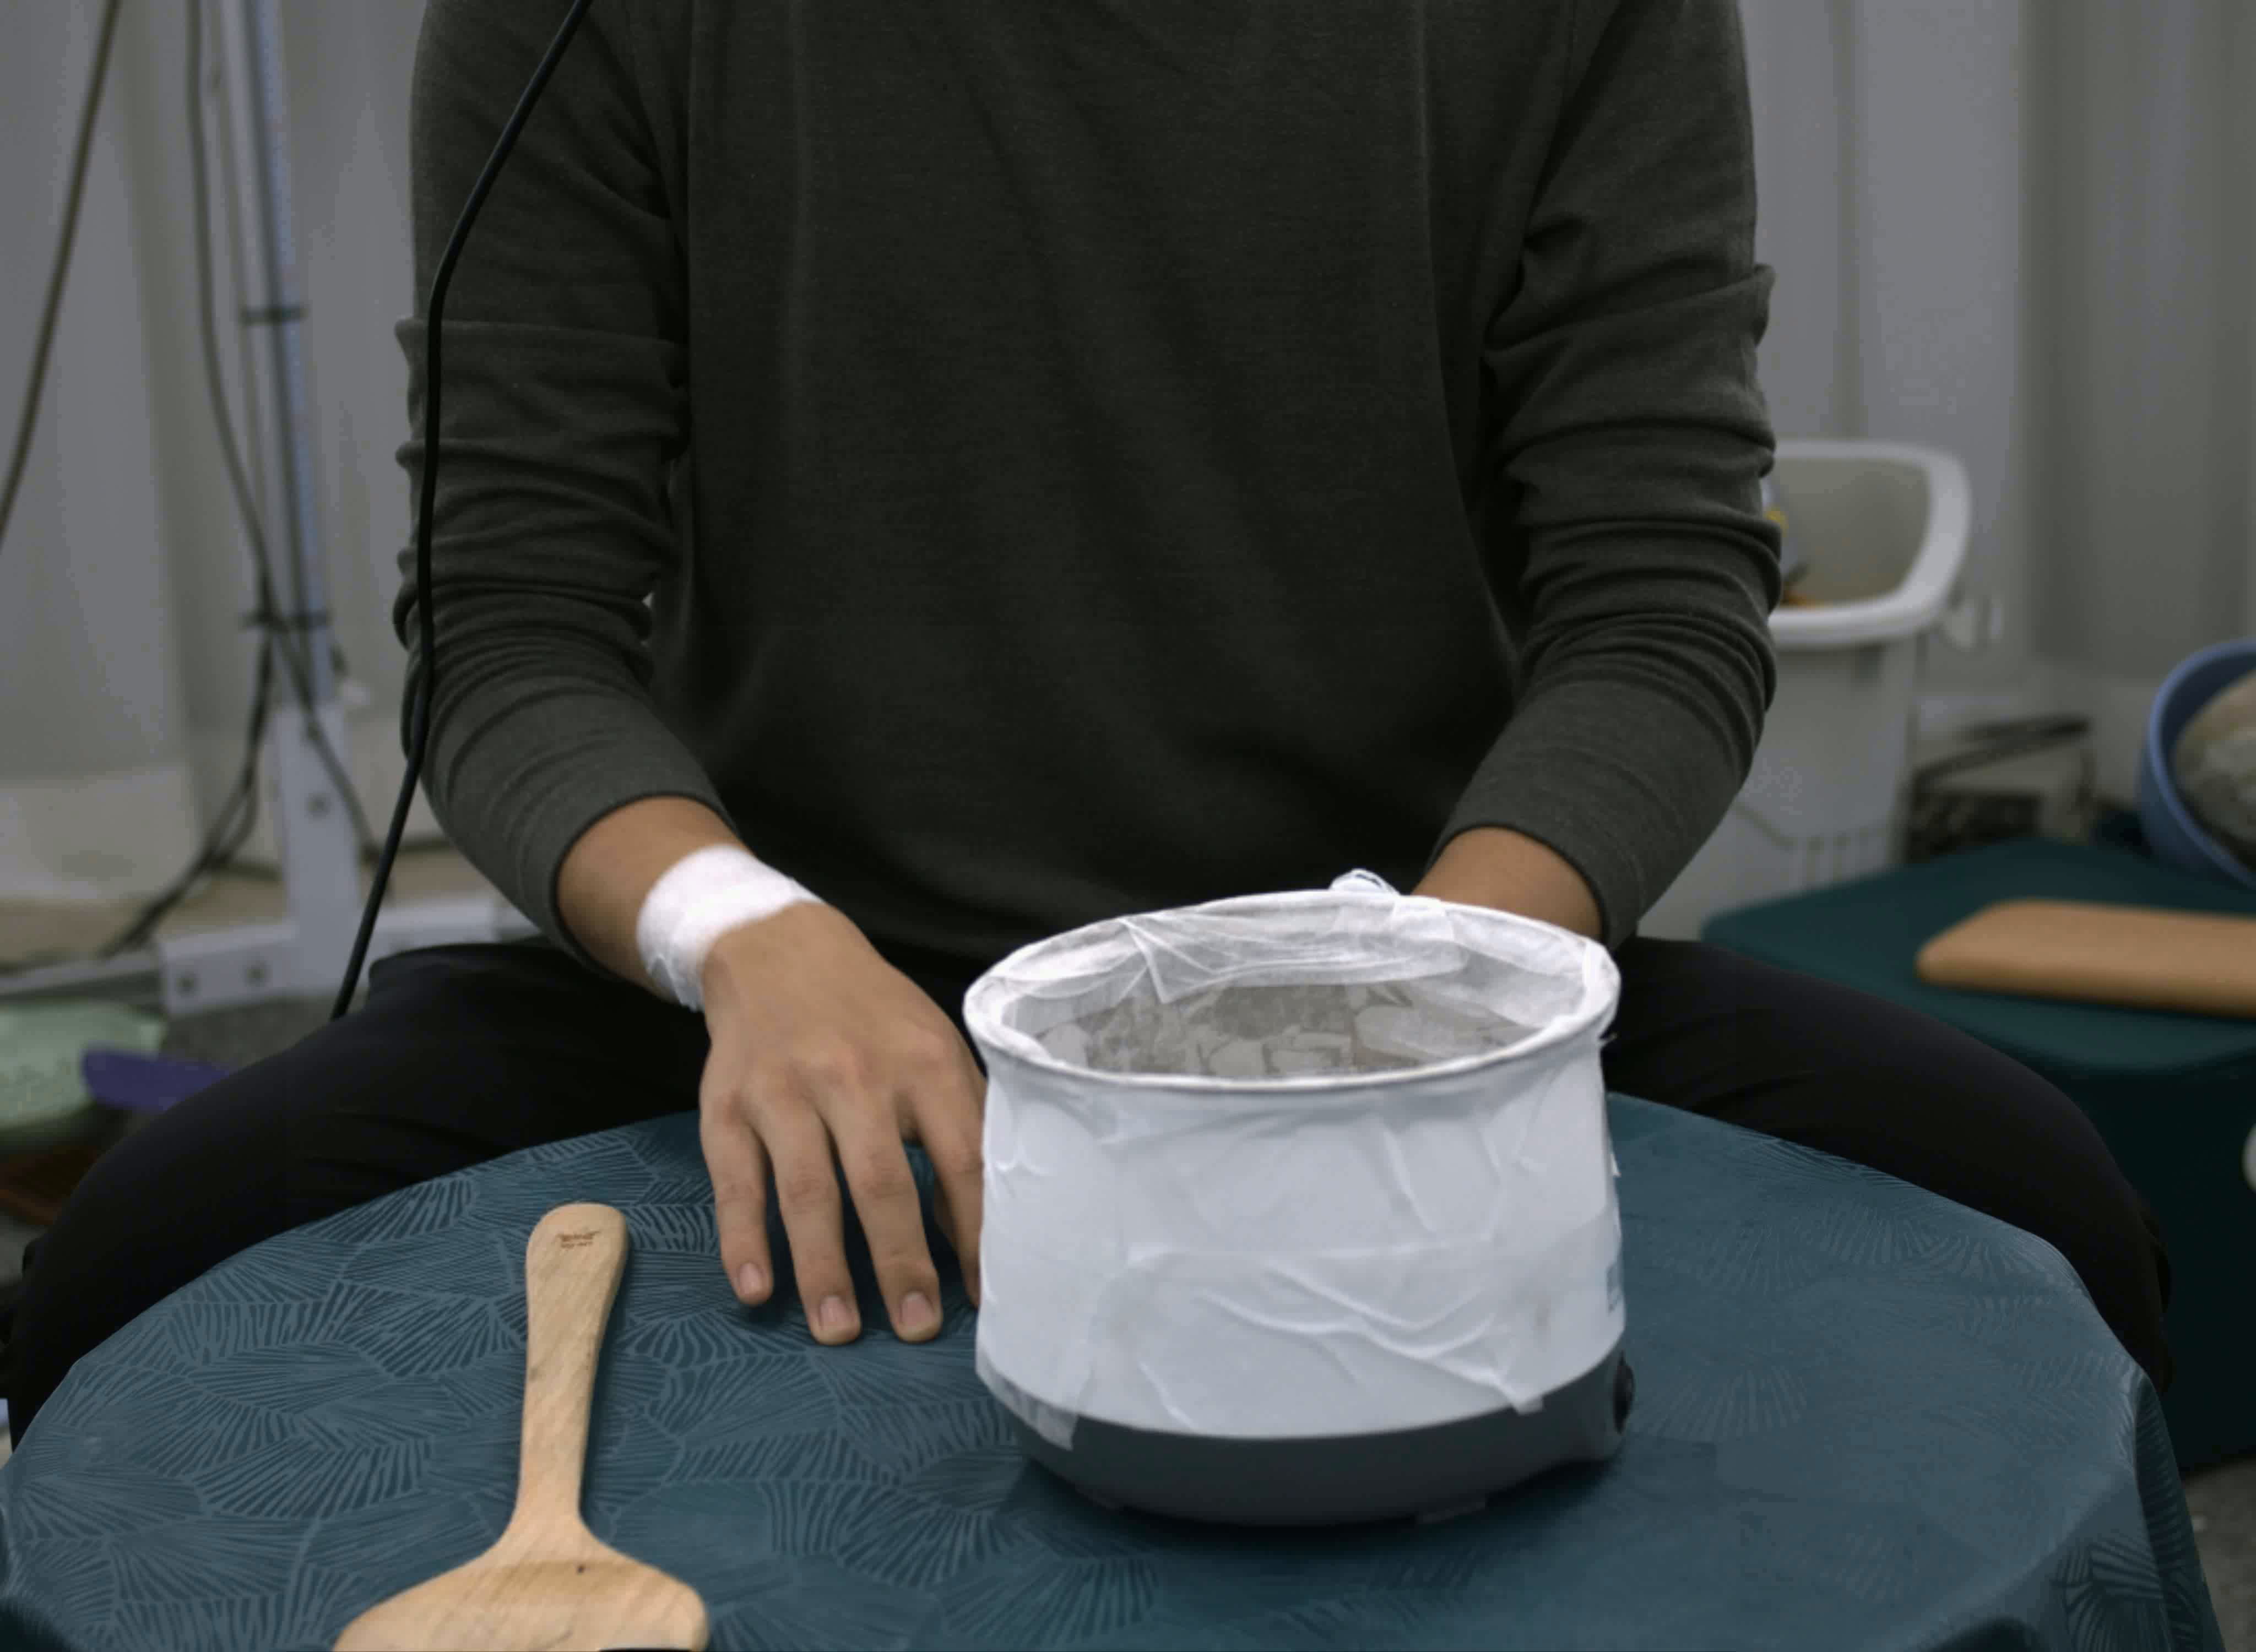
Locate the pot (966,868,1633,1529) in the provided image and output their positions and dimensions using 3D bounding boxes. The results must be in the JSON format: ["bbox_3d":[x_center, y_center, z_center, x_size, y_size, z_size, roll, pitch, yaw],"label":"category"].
[{"bbox_3d":[0.053,0.097,1.510,0.178,0.136,0.235,1,15,12],"label":"pot"}]

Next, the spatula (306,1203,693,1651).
[{"bbox_3d":[-0.165,0.167,1.518,0.095,0.018,0.393,-2,15,-3],"label":"spatula"}]
